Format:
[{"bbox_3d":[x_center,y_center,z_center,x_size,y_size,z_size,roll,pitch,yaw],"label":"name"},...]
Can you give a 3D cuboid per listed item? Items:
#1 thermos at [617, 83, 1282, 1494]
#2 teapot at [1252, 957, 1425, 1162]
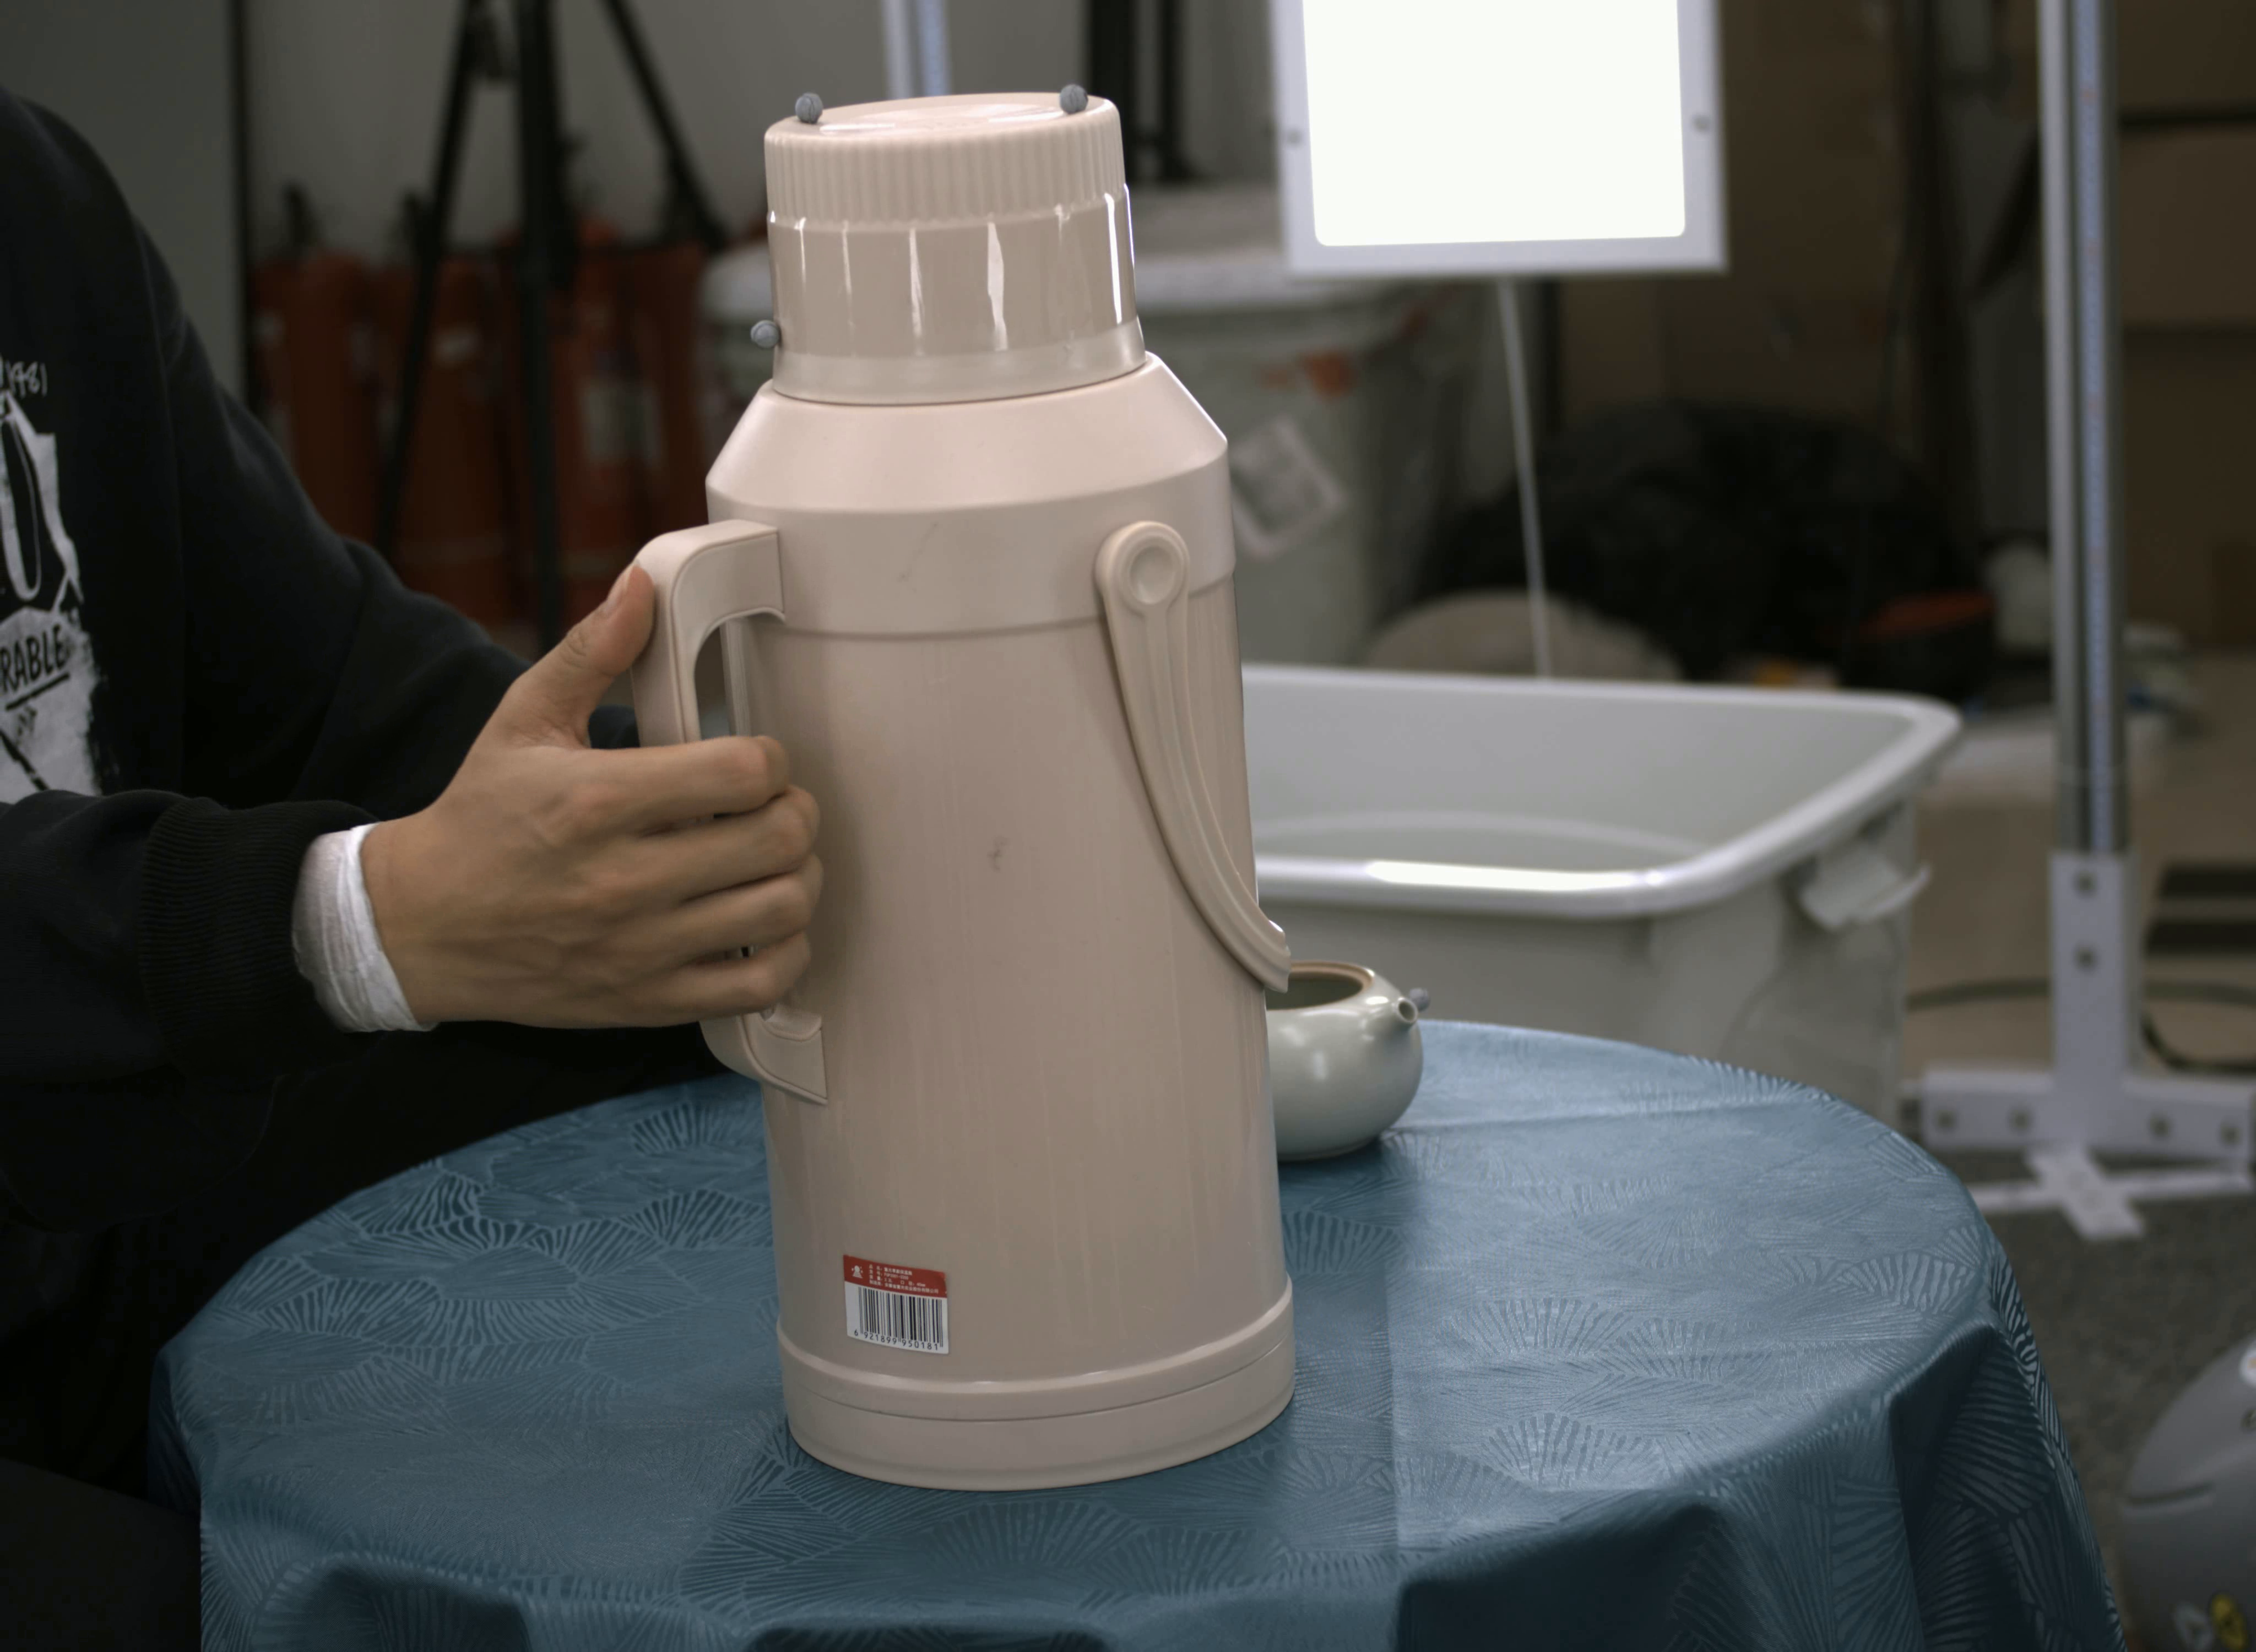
[{"bbox_3d":[-0.055,-0.011,1.648,0.202,0.408,0.179,-14,18,-35],"label":"thermos"},{"bbox_3d":[0.052,0.081,1.941,0.131,0.060,0.089,7,22,38],"label":"teapot"}]
